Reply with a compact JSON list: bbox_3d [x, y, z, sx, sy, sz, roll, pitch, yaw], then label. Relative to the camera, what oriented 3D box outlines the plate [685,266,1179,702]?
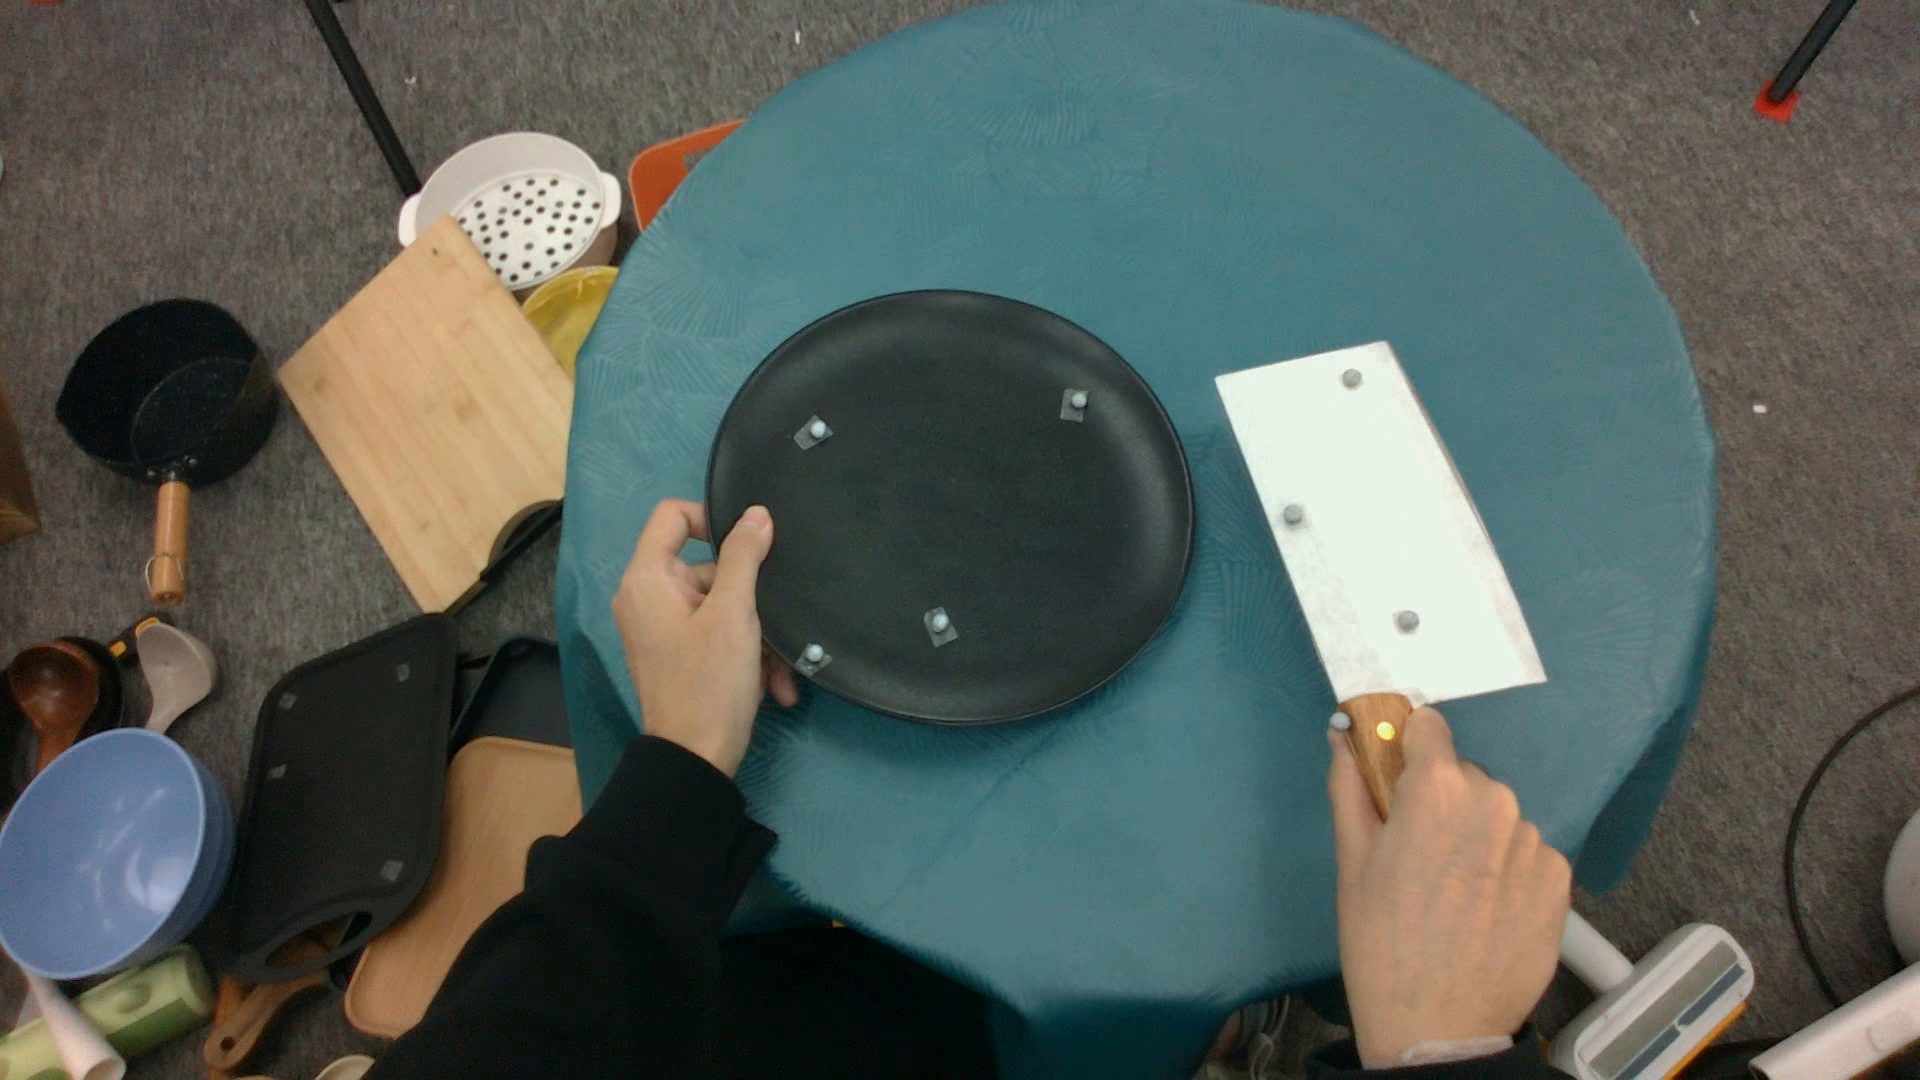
[{"bbox_3d":[-0.013,-0.032,0.685,0.244,0.023,0.245,3,63,-6],"label":"plate"}]

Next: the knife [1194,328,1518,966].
[{"bbox_3d":[0.189,0.027,0.607,0.093,0.021,0.307,-12,60,-4],"label":"knife"}]
